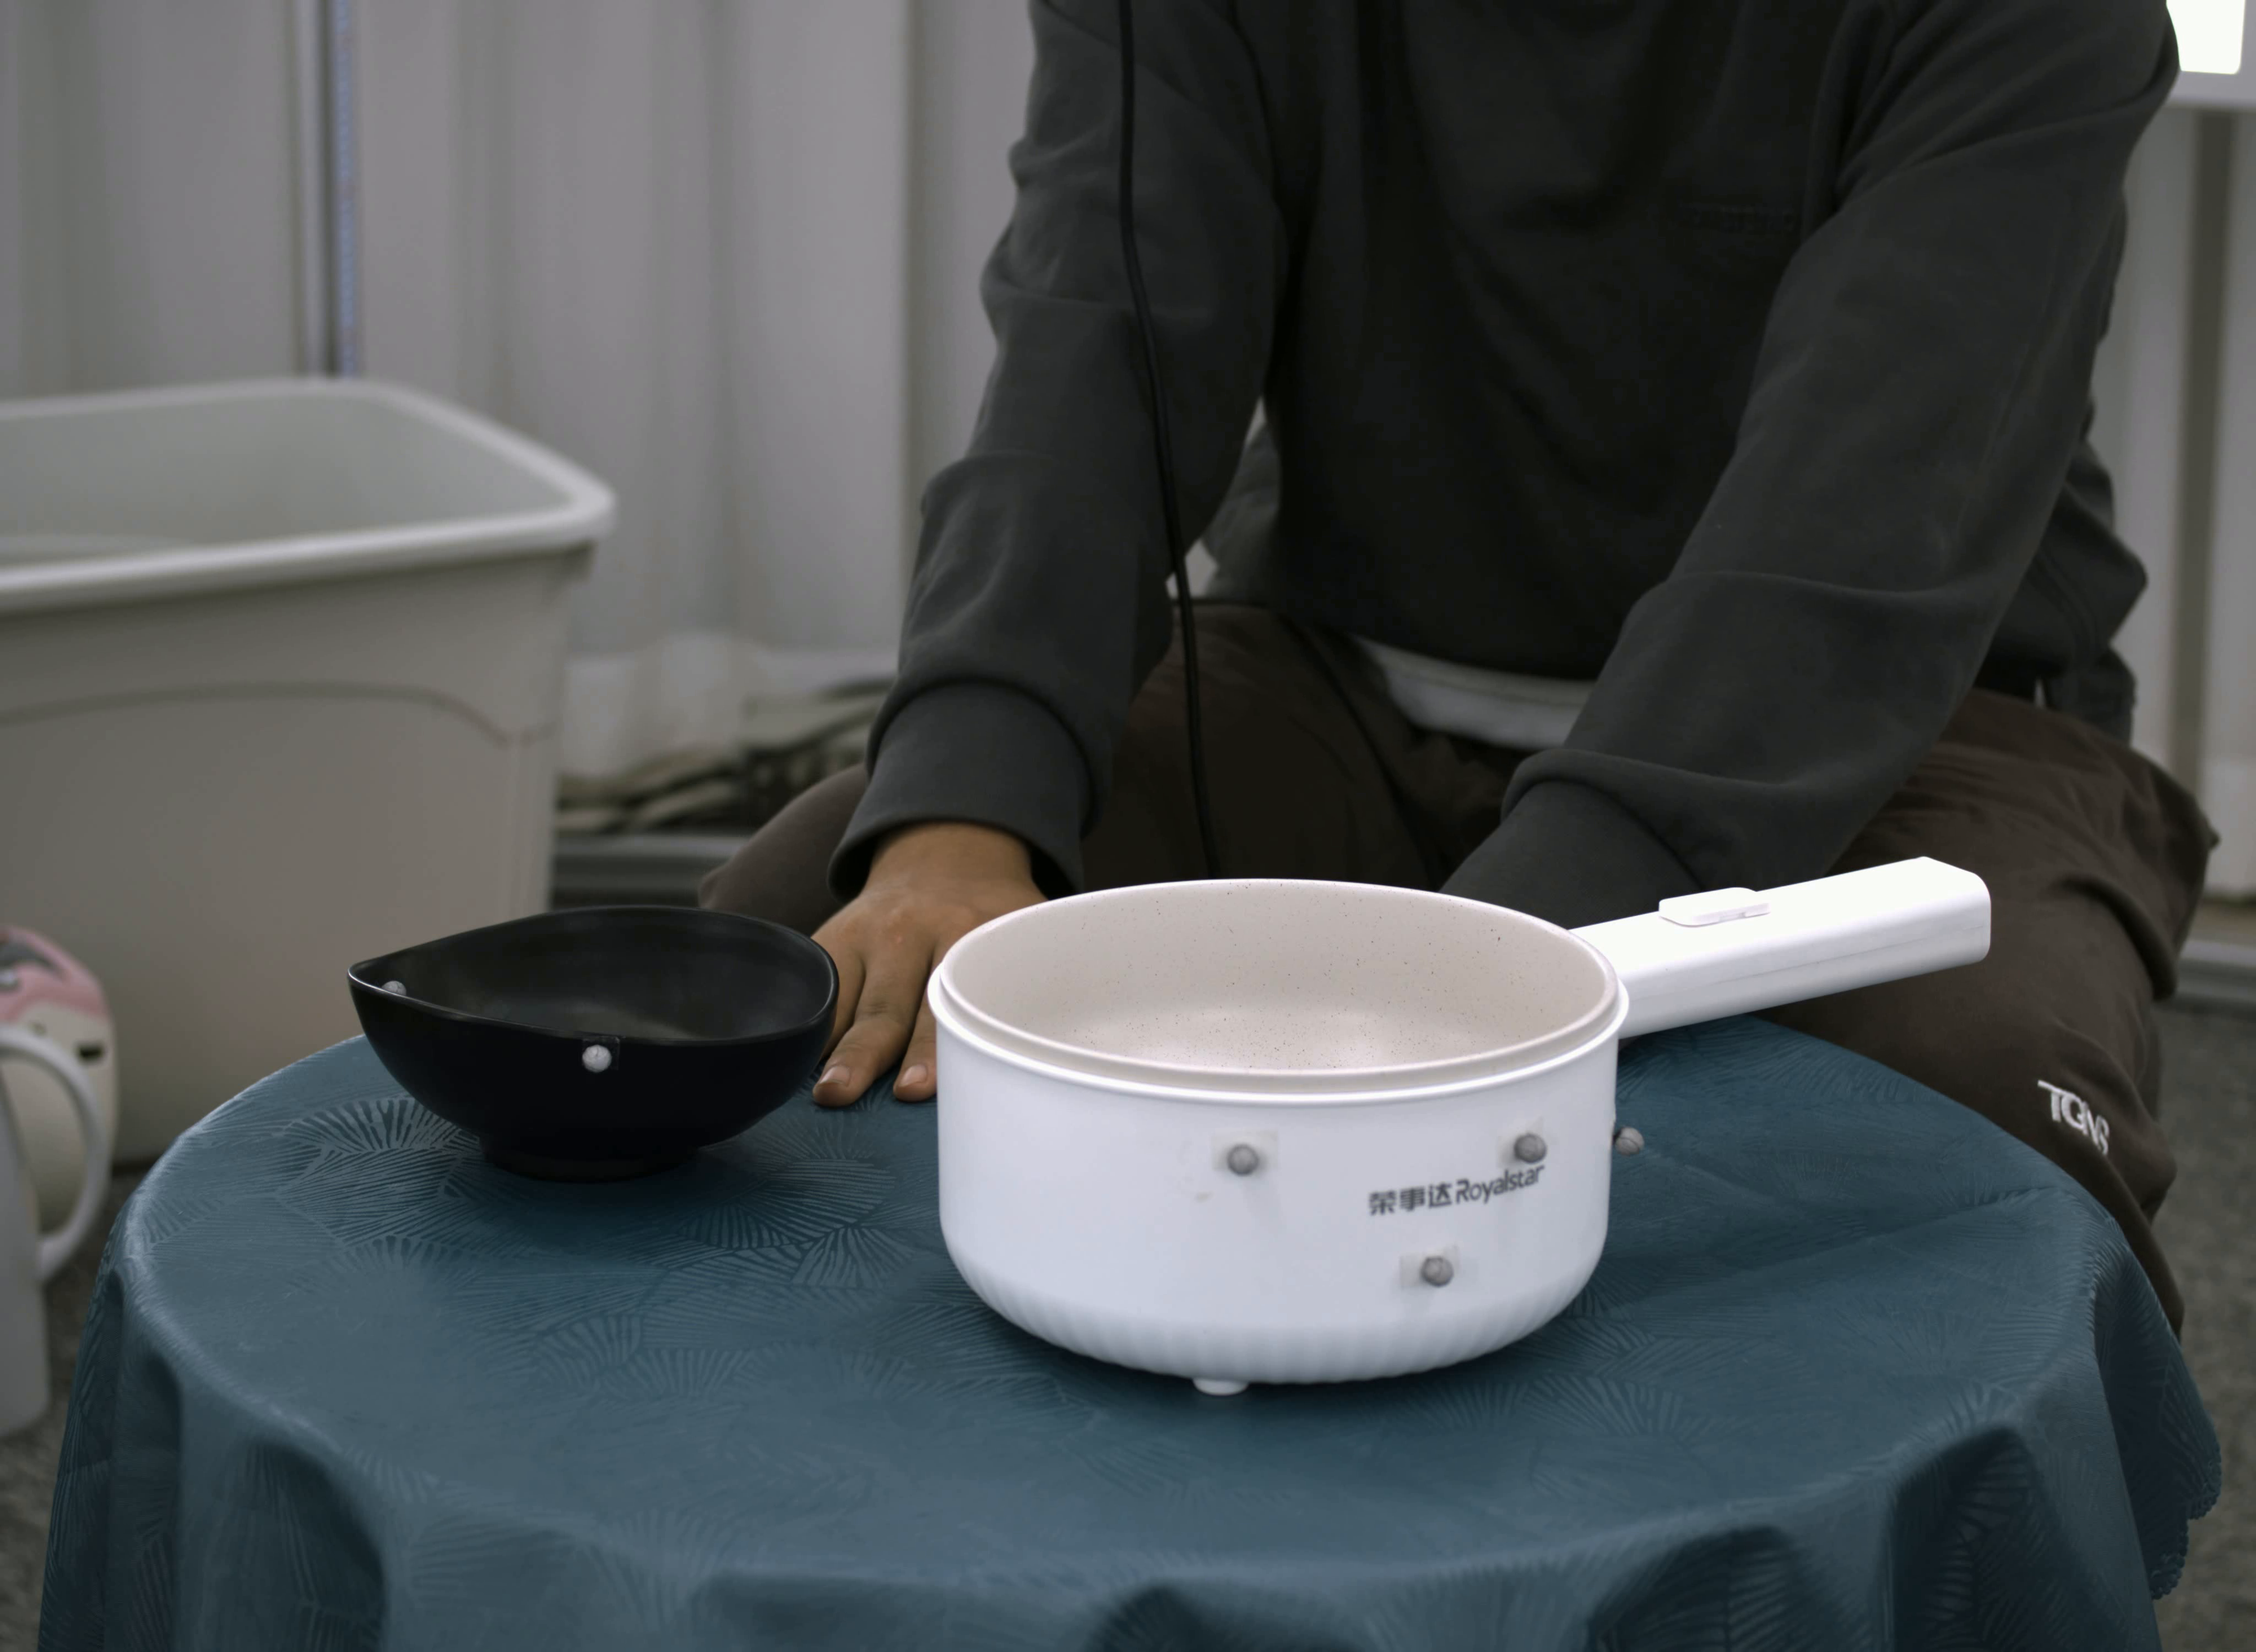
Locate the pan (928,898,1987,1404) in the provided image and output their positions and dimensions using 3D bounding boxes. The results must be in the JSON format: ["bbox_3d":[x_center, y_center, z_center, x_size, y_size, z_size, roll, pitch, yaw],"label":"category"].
[{"bbox_3d":[0.107,0.088,1.564,0.356,0.103,0.199,-7,13,-33],"label":"pan"}]

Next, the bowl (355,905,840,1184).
[{"bbox_3d":[-0.167,0.072,1.645,0.168,0.067,0.138,11,18,37],"label":"bowl"}]
